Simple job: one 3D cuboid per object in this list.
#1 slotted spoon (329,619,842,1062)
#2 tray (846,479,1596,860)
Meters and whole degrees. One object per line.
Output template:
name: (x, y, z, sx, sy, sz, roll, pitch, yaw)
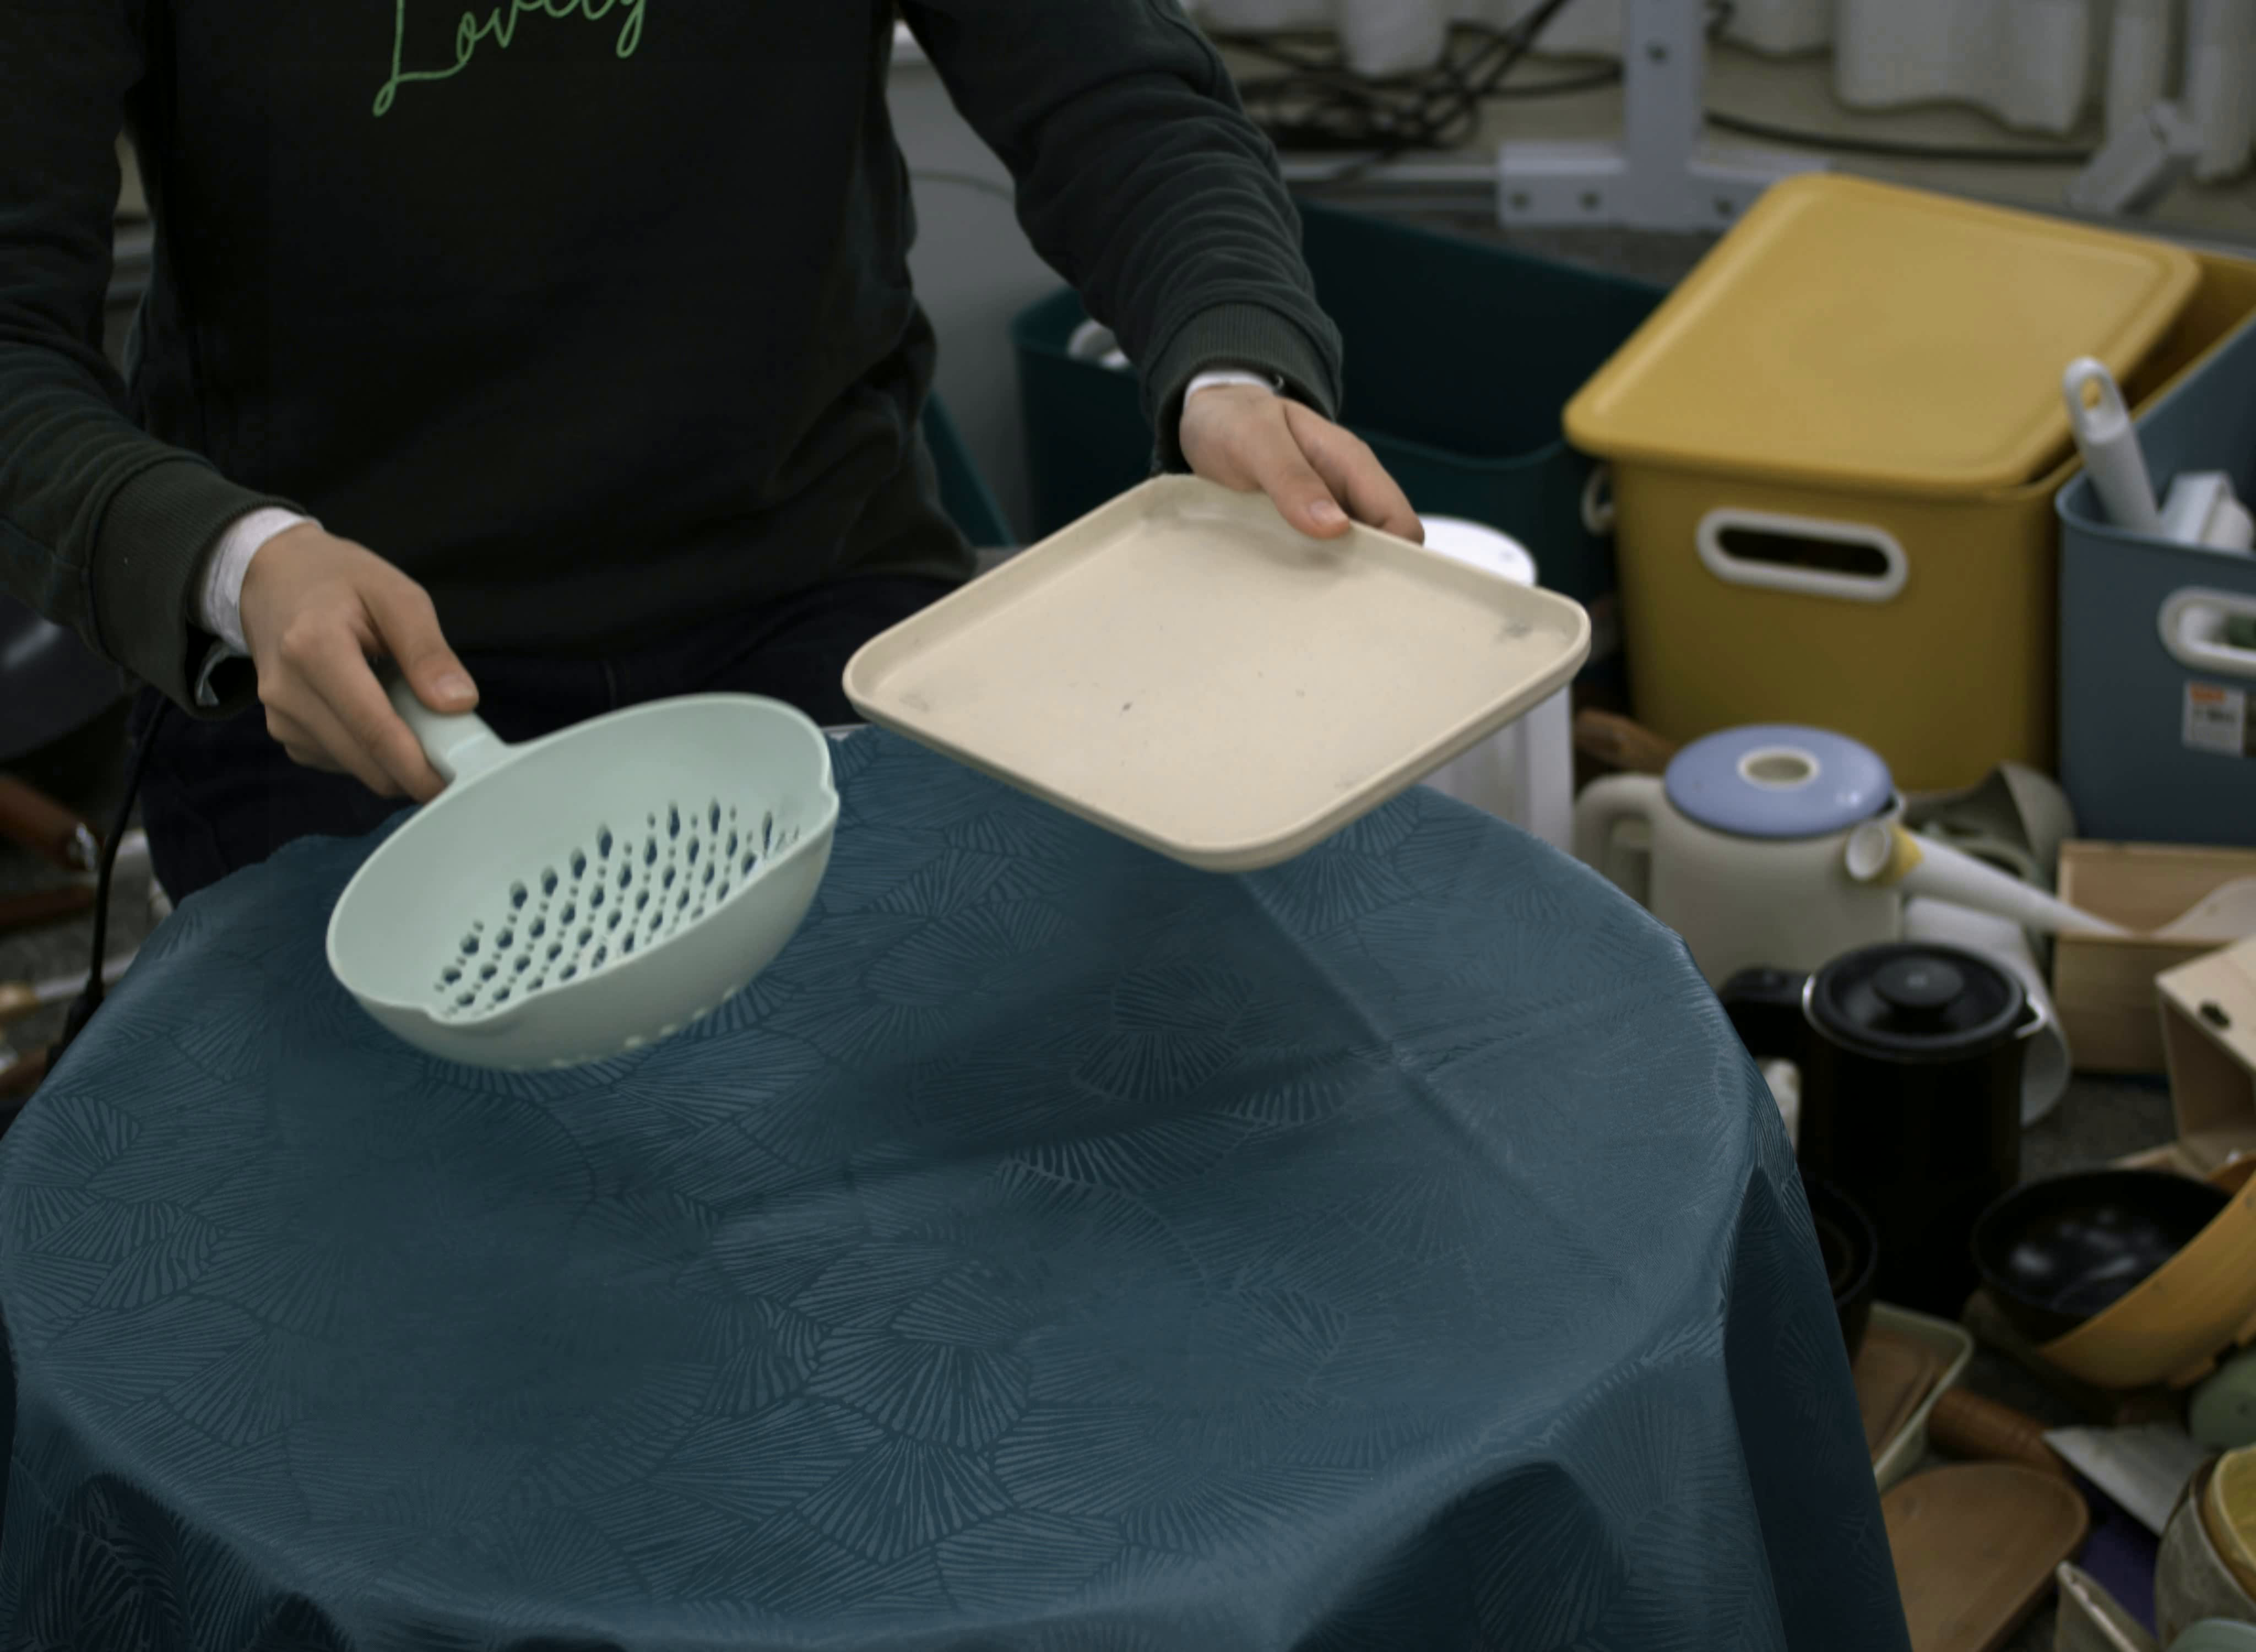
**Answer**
slotted spoon: (-0.205, -0.015, 1.838, 0.170, 0.074, 0.361, -29, 35, -14)
tray: (0.029, -0.053, 1.862, 0.173, 0.017, 0.239, -31, 31, -27)
